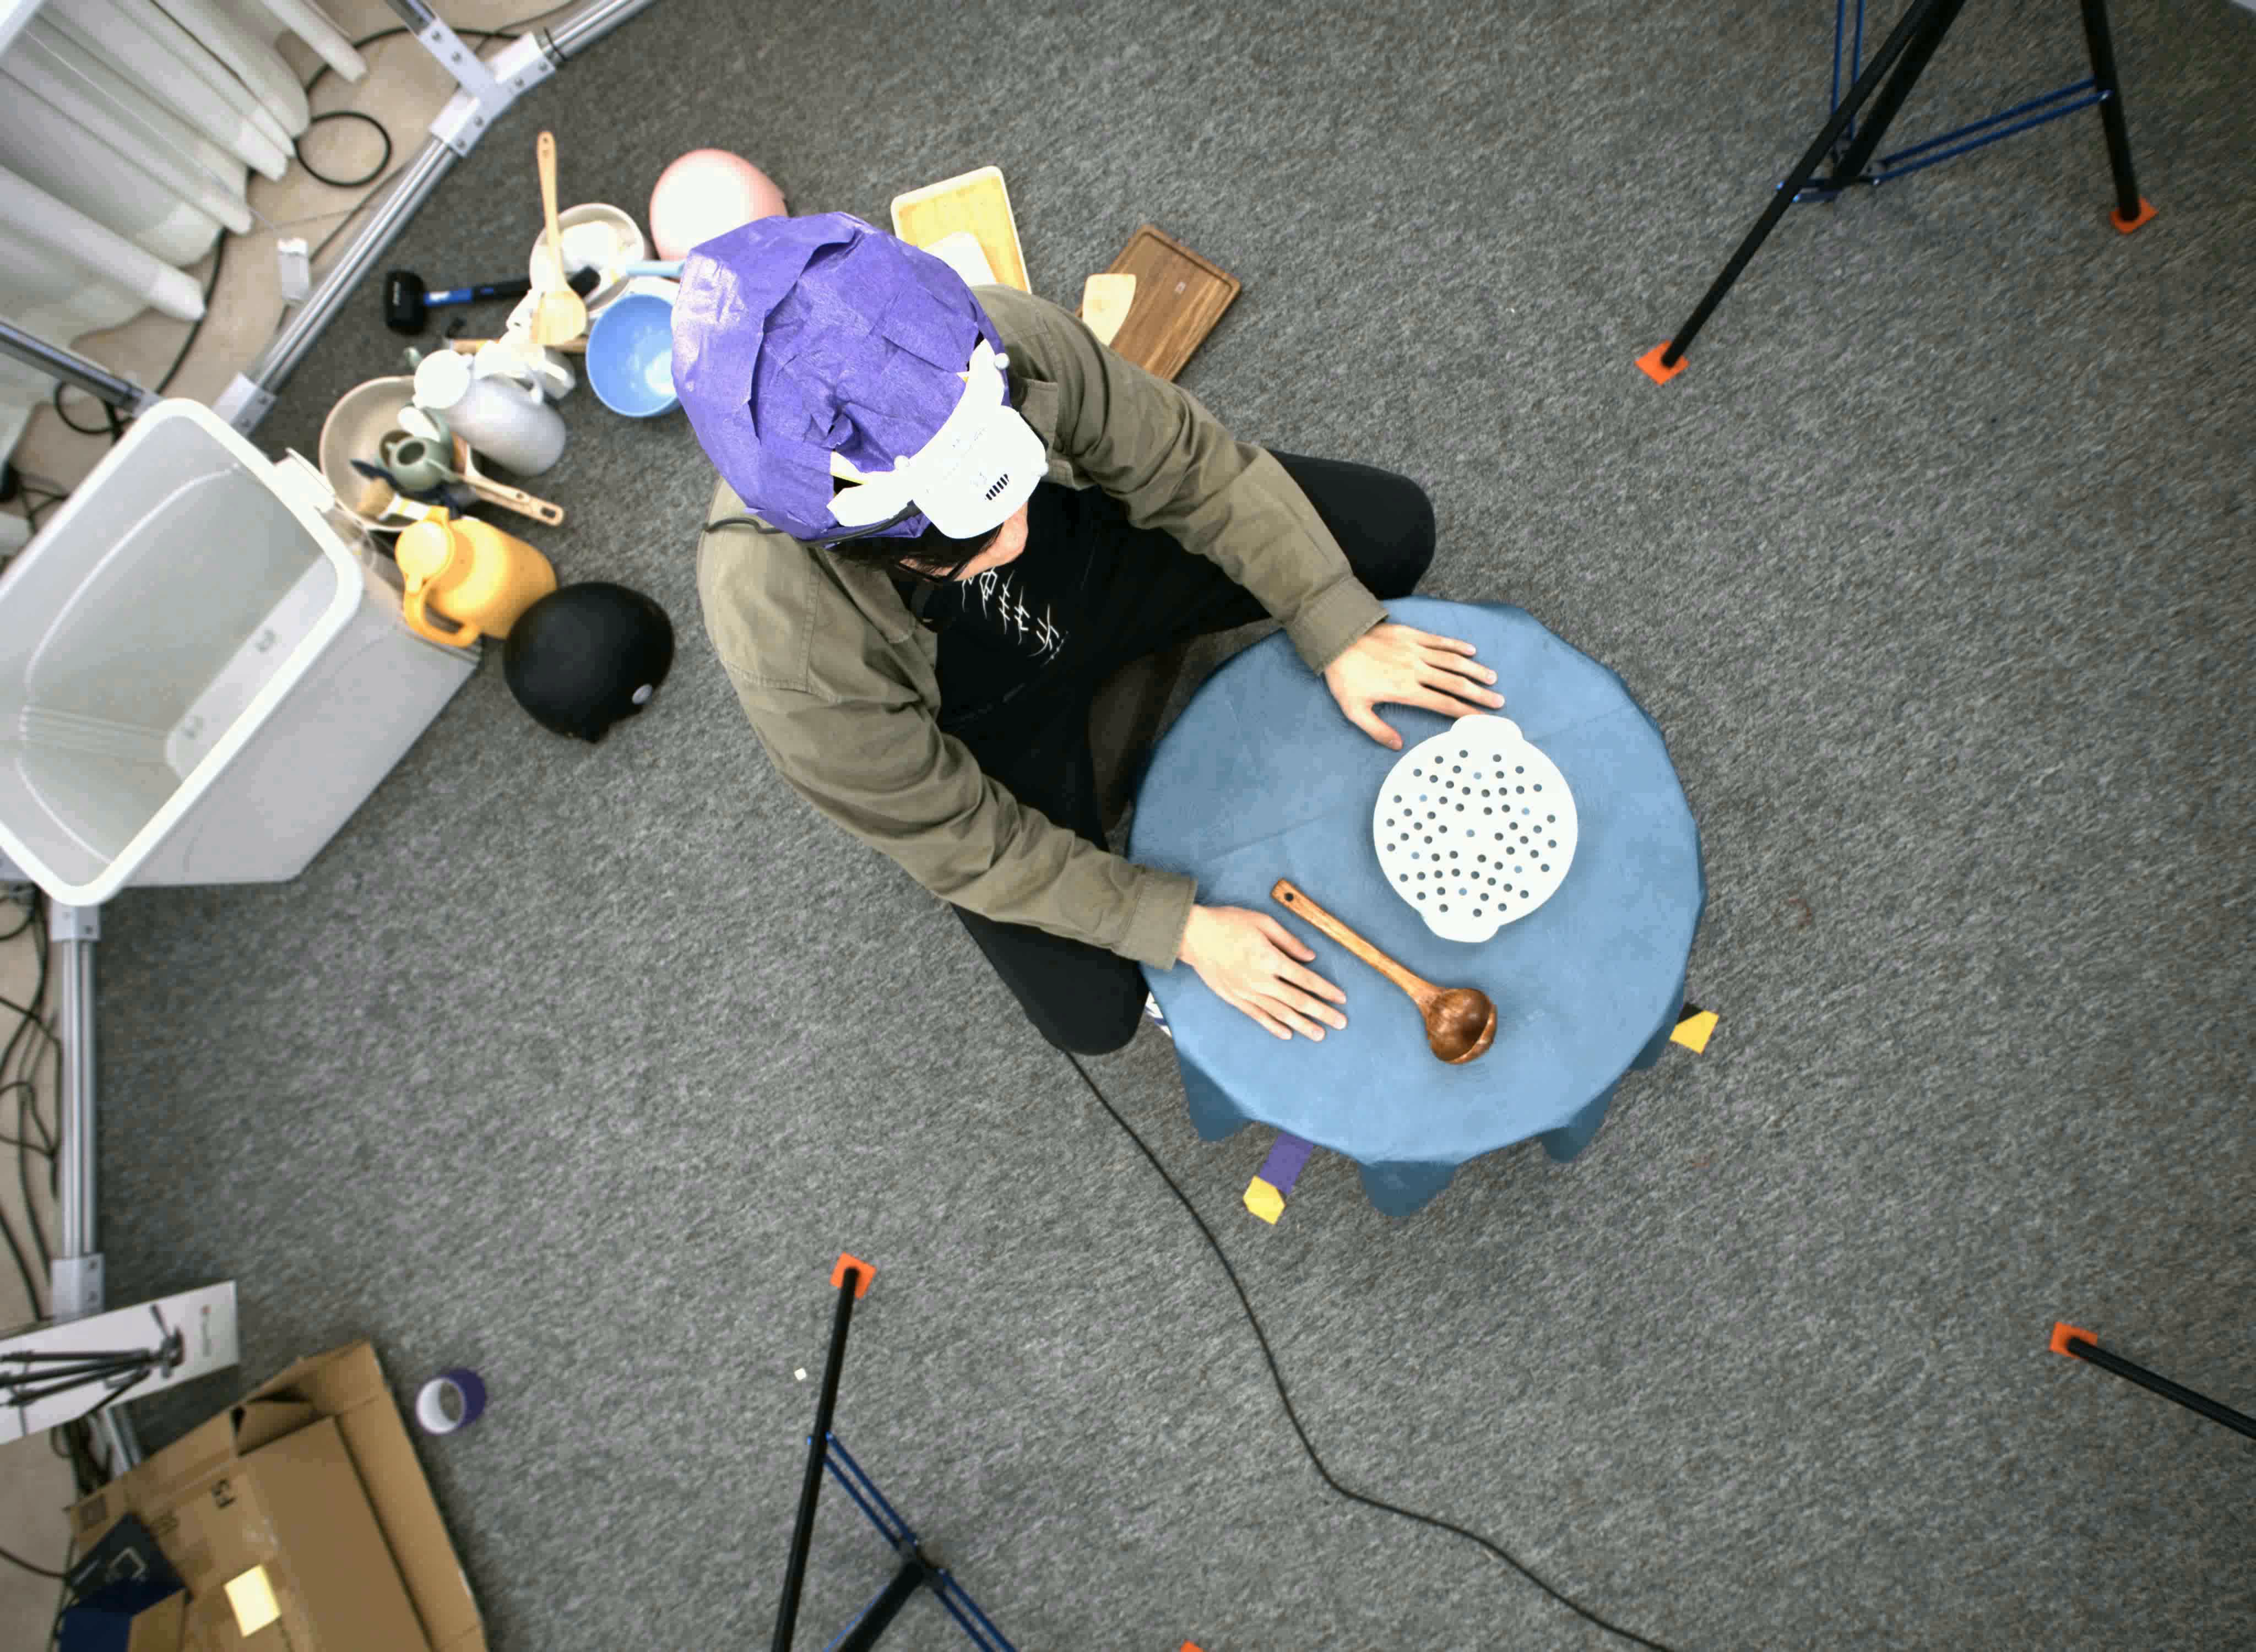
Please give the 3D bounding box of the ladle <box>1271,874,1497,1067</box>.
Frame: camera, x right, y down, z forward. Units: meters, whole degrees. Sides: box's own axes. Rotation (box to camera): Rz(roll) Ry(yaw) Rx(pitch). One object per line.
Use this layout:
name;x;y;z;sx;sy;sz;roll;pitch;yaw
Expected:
ladle;0.253;0.141;1.411;0.273;0.076;0.082;37;97;10

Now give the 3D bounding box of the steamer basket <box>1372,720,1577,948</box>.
steamer basket;0.350;0.008;1.403;0.202;0.069;0.230;8;87;10
